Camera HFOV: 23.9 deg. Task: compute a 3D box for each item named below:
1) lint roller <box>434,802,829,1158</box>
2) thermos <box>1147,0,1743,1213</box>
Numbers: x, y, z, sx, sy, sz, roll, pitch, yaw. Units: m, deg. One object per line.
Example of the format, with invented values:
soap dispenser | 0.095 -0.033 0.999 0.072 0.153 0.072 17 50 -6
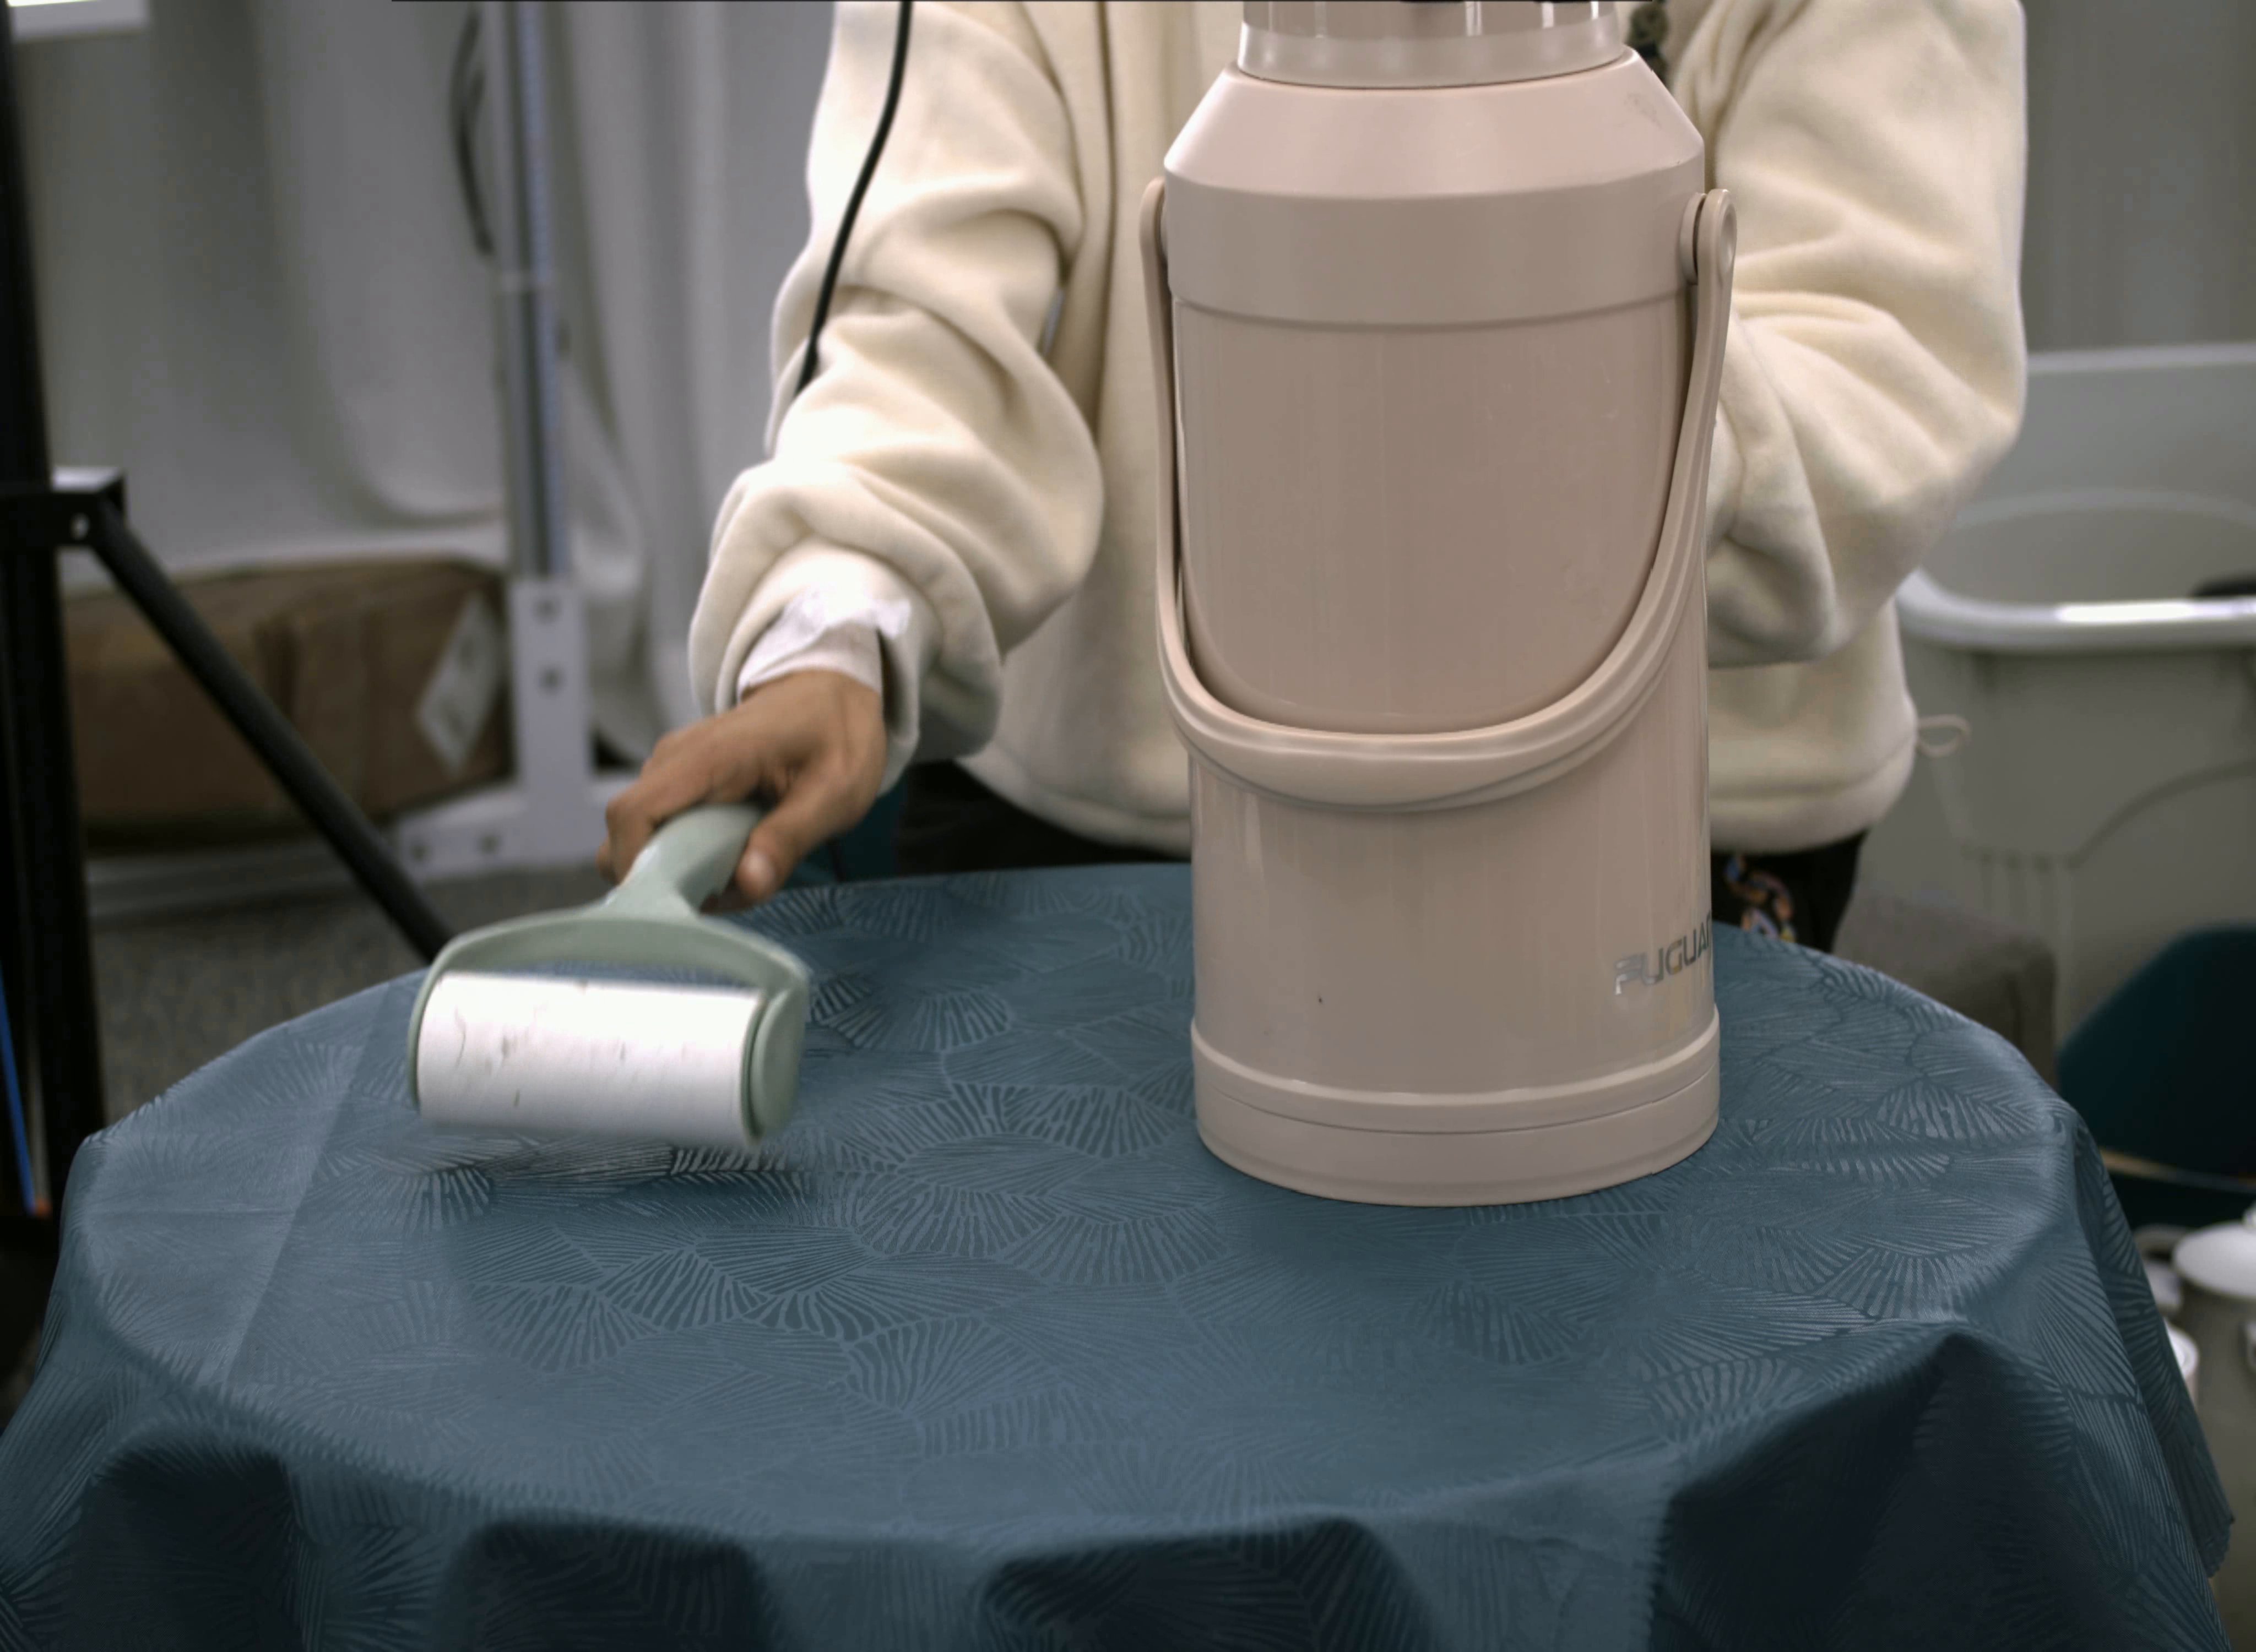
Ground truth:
lint roller | -0.135 0.036 1.652 0.117 0.048 0.197 1 32 13
thermos | 0.098 -0.104 1.567 0.177 0.406 0.204 4 16 22
